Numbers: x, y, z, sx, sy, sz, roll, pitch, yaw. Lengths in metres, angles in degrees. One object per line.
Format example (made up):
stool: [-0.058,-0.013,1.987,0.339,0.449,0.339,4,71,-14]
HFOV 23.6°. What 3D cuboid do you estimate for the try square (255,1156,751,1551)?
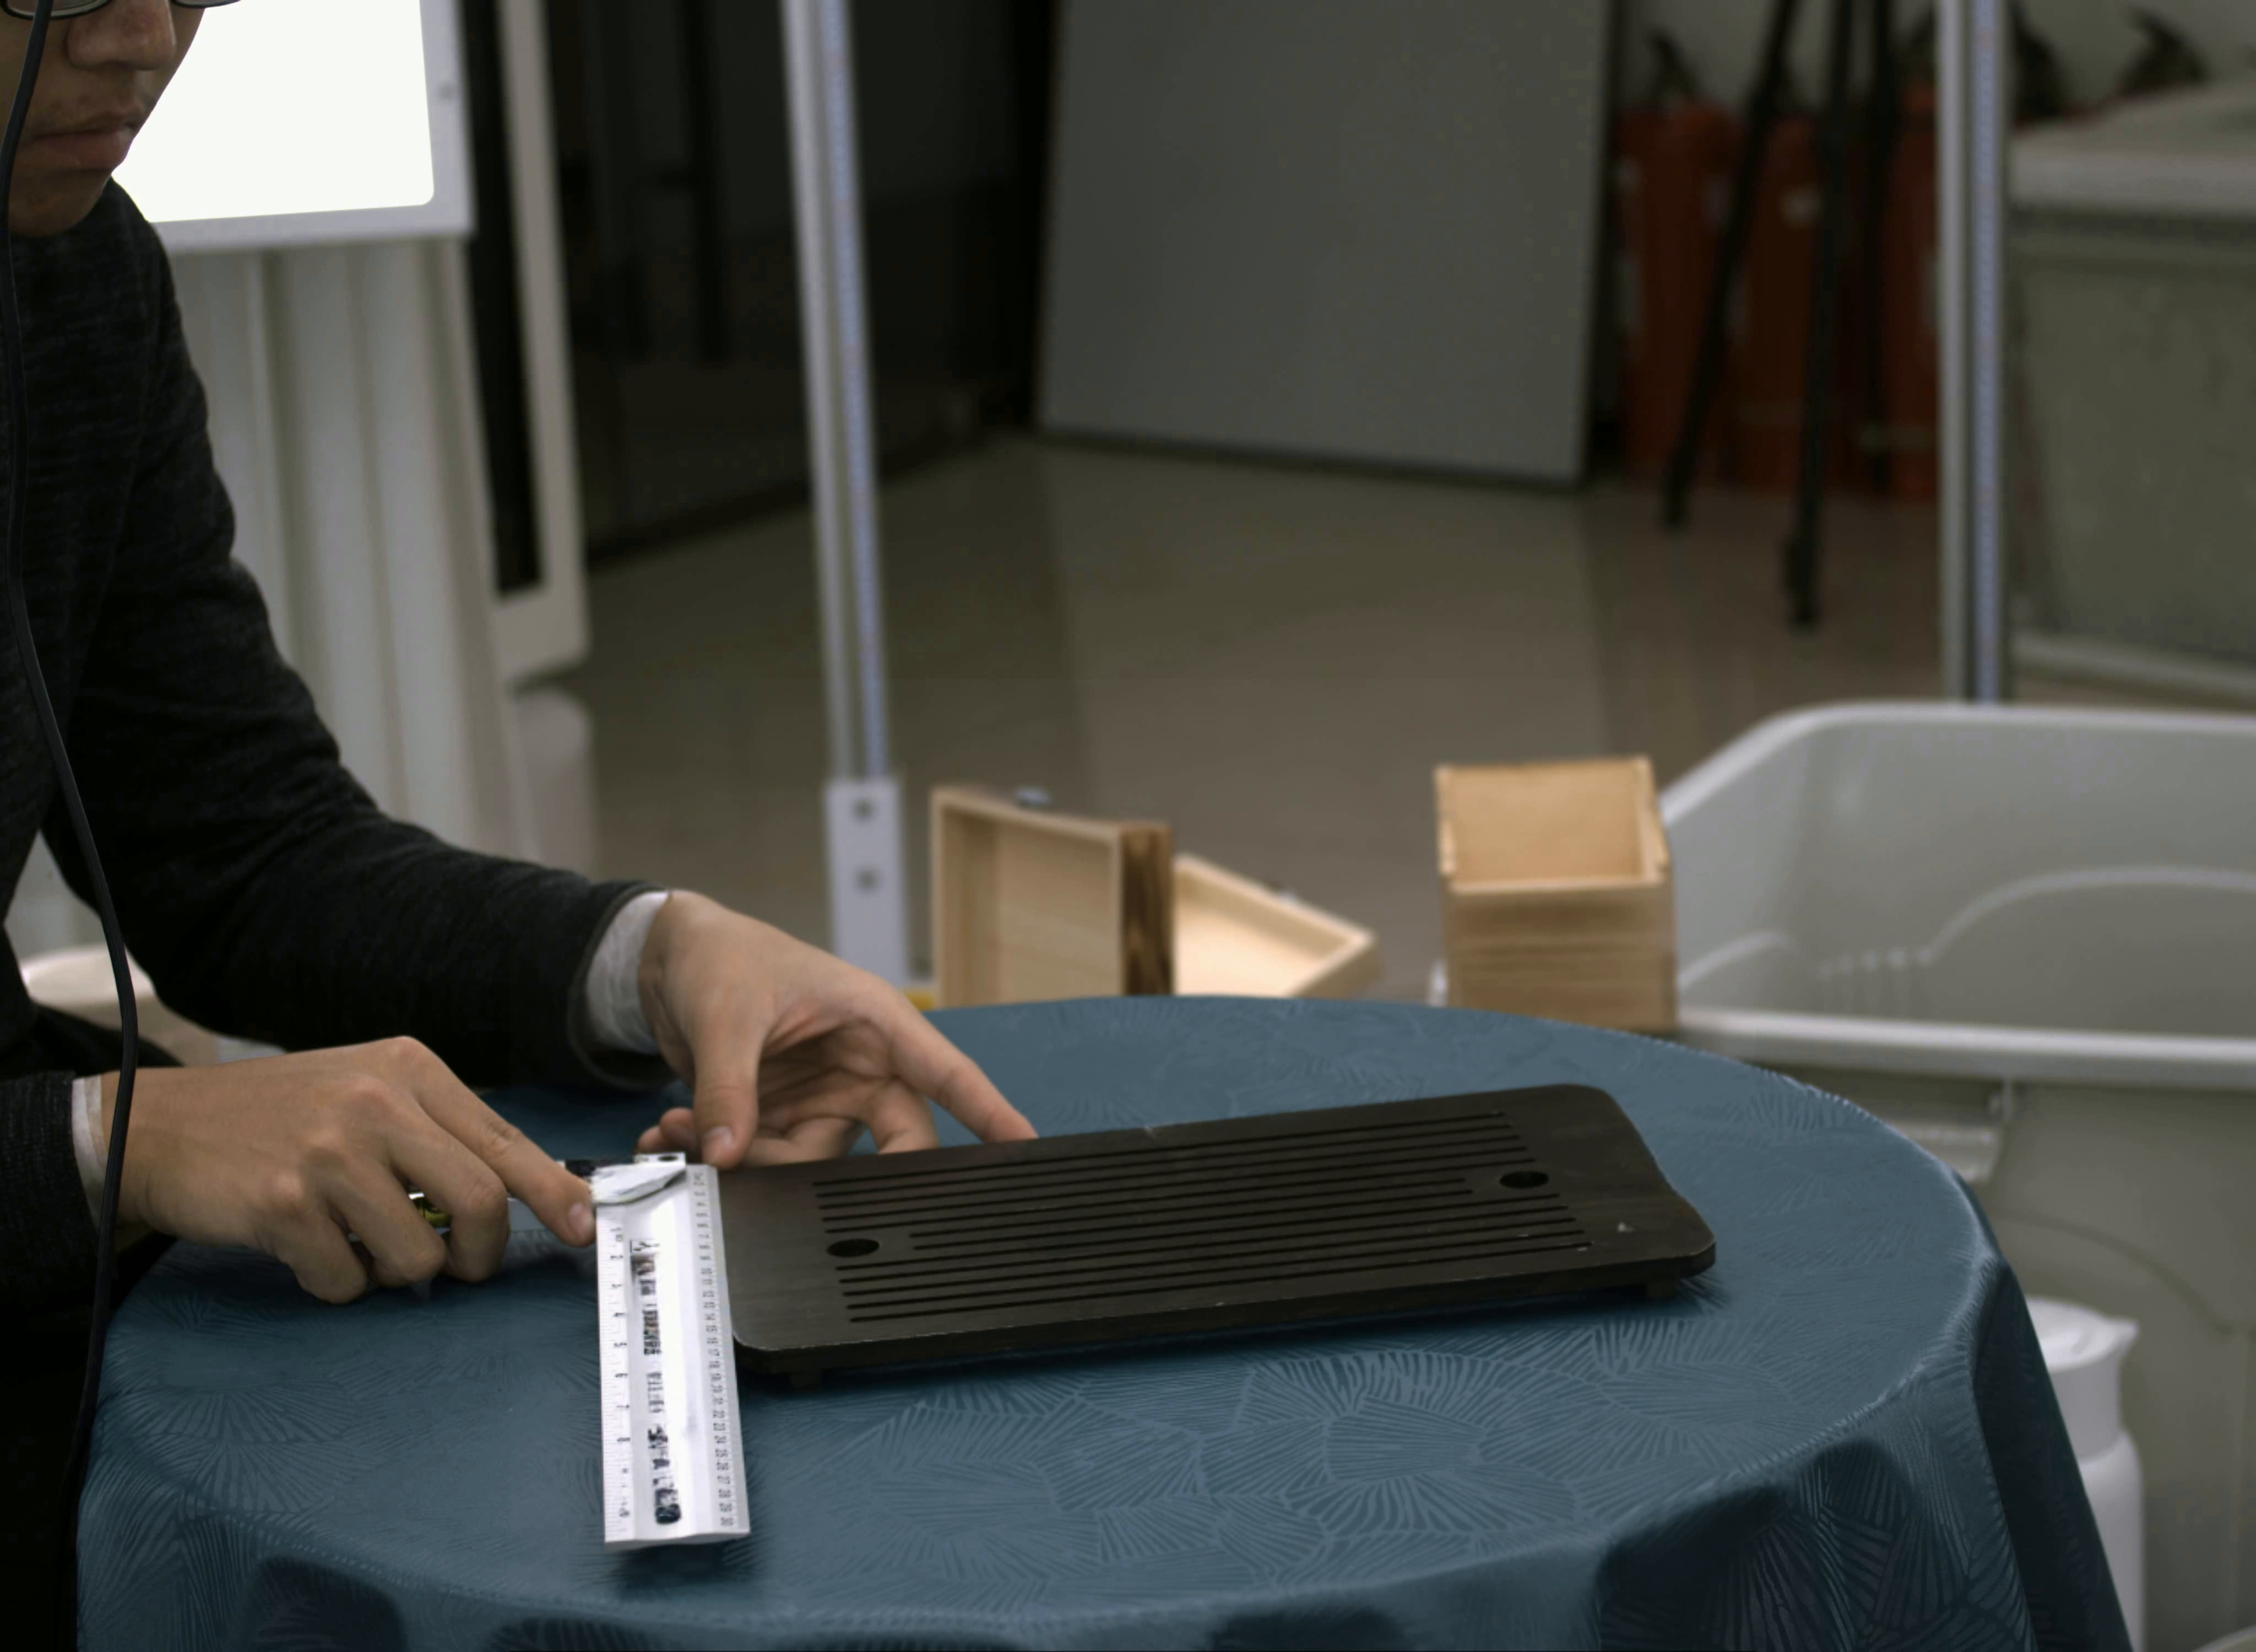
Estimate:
try square: [-0.190,0.158,1.607,0.150,0.016,0.314,-6,15,-4]

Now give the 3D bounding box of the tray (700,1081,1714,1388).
tray: [0.021,0.127,1.693,0.301,0.019,0.171,-6,16,-6]
